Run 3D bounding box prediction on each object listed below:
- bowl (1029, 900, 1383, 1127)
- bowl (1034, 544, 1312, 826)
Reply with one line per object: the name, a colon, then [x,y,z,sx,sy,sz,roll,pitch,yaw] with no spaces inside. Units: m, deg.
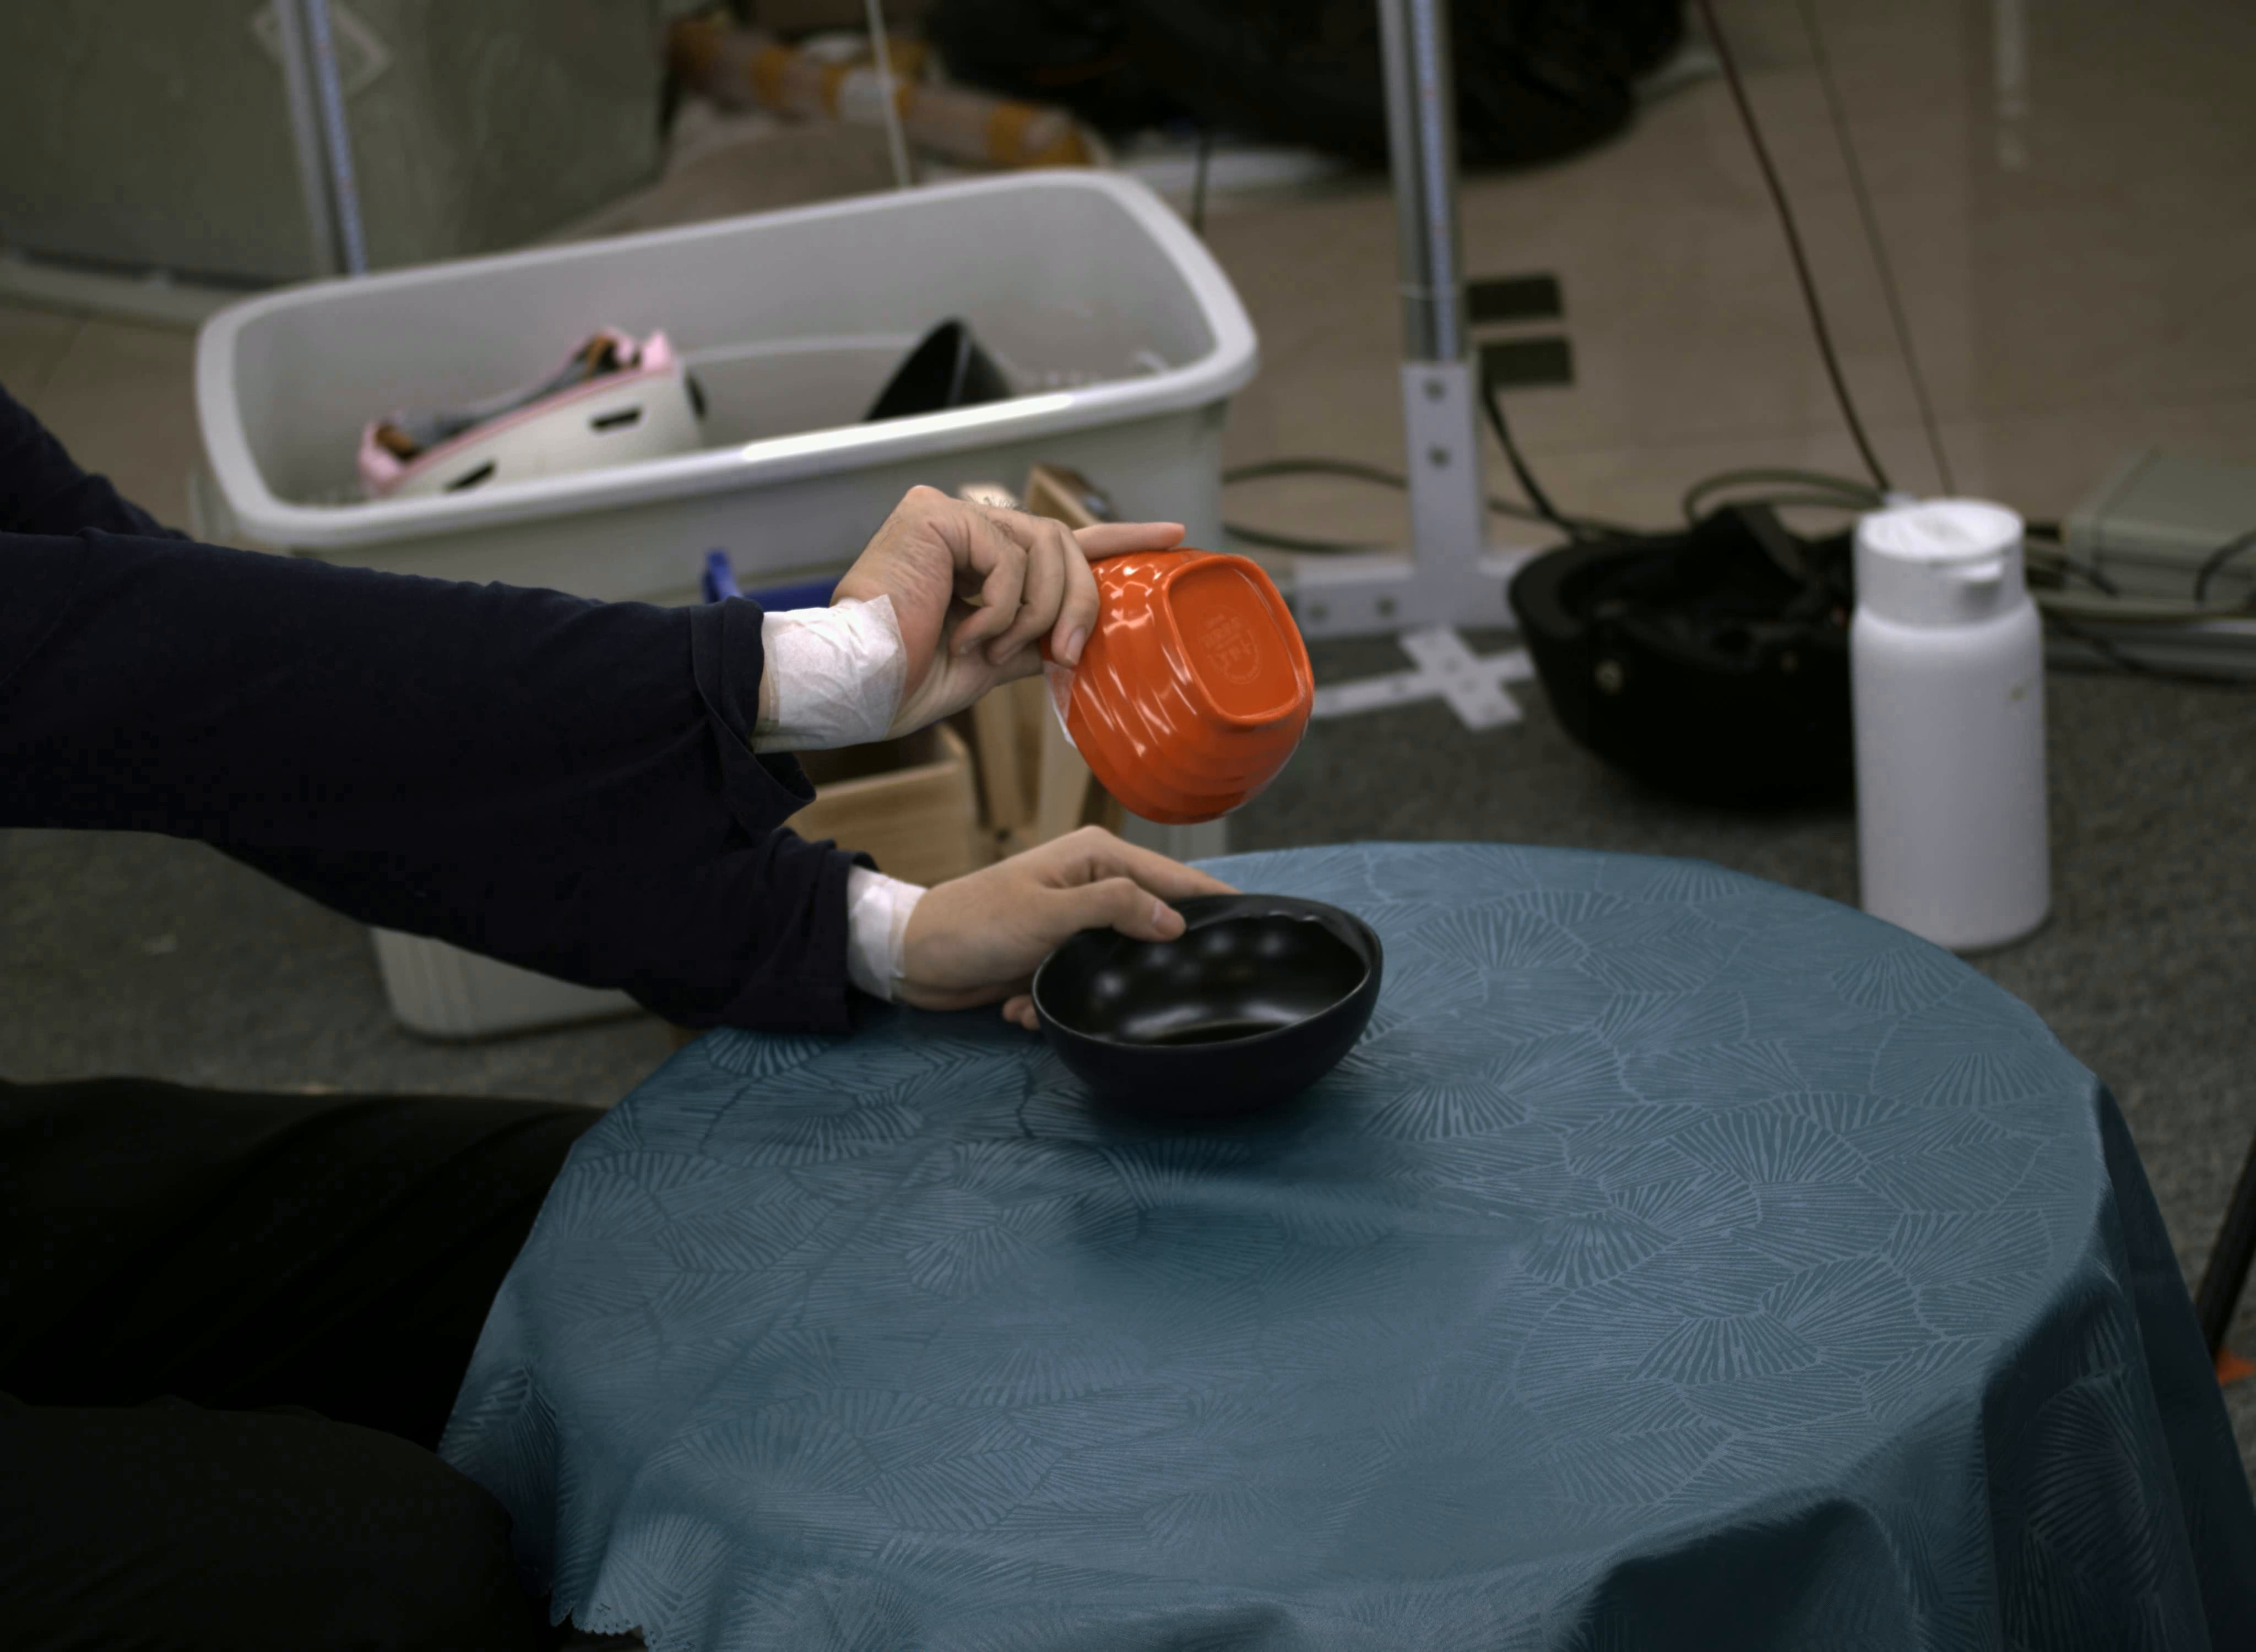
bowl: [0.034,0.080,2.217,0.140,0.050,0.138,-10,23,4]
bowl: [0.025,-0.061,2.132,0.052,0.119,0.117,-27,5,44]
